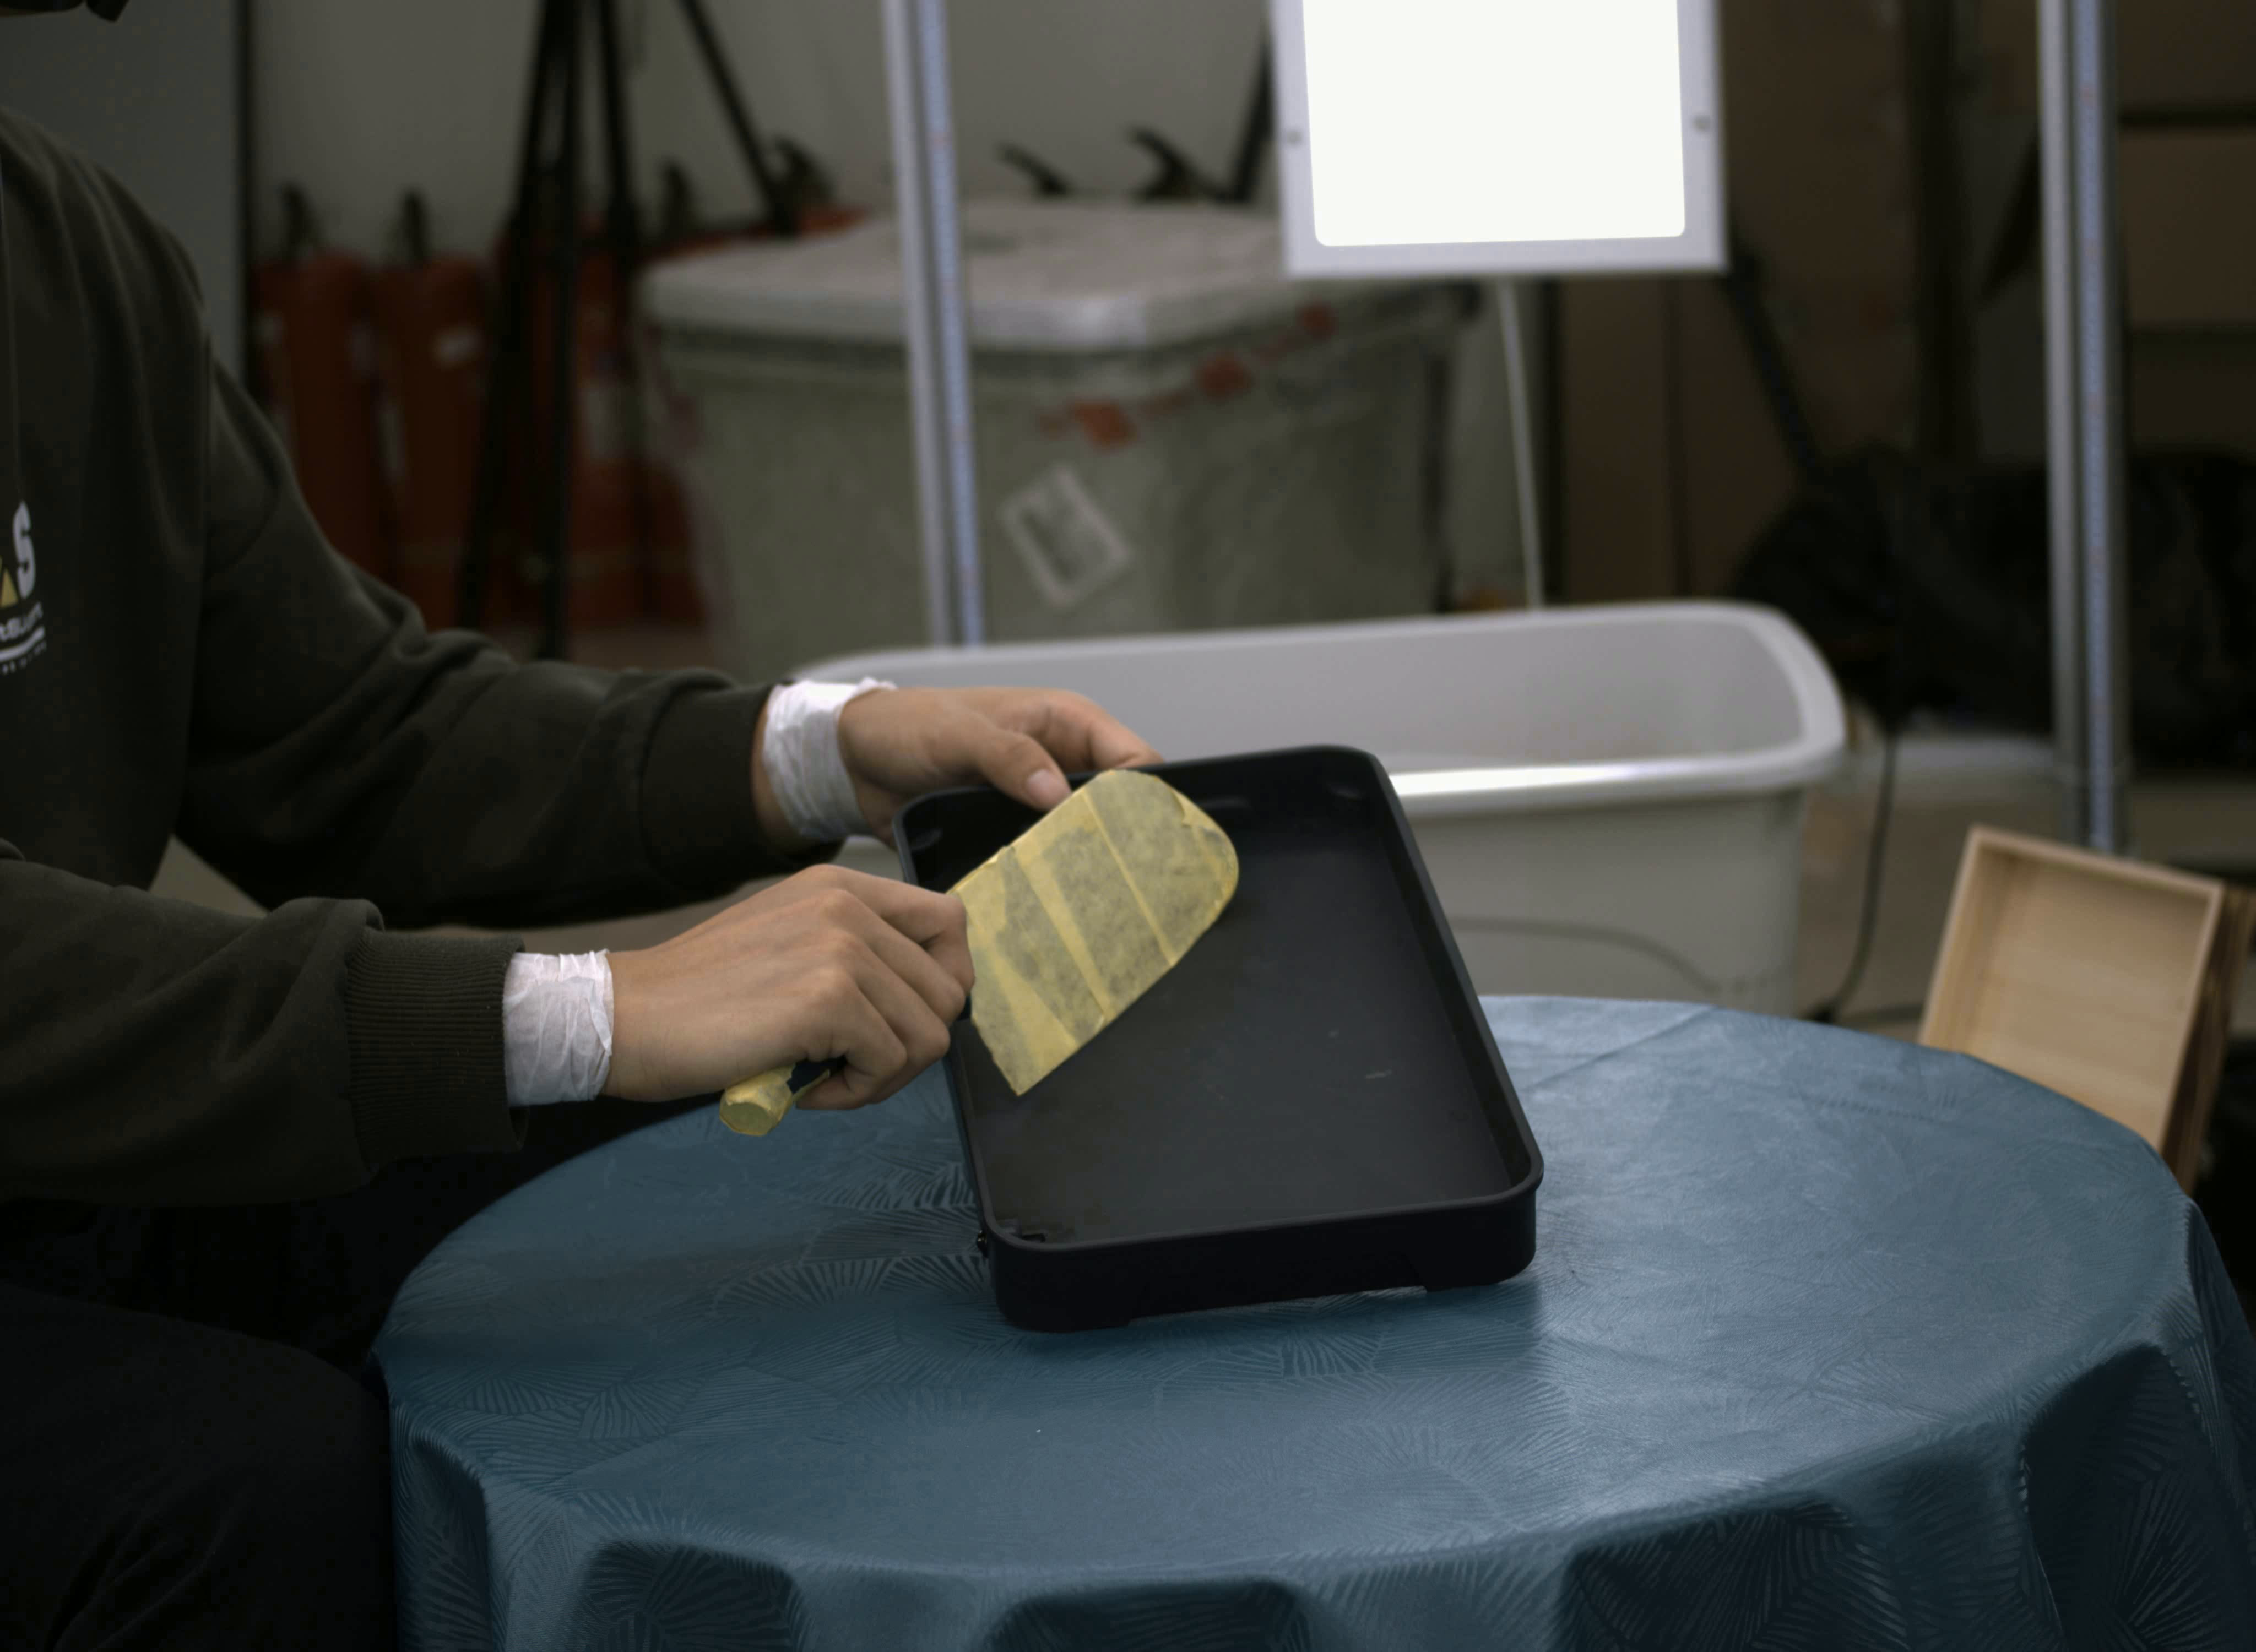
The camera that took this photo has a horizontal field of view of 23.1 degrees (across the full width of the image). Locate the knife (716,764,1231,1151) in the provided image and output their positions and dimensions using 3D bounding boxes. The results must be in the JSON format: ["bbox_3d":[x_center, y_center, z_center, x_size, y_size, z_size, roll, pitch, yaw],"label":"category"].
[{"bbox_3d":[-0.044,0.052,1.890,0.028,0.081,0.283,-25,6,43],"label":"knife"}]

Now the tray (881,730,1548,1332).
[{"bbox_3d":[0.024,0.064,1.900,0.183,0.037,0.319,-9,30,-6],"label":"tray"}]
